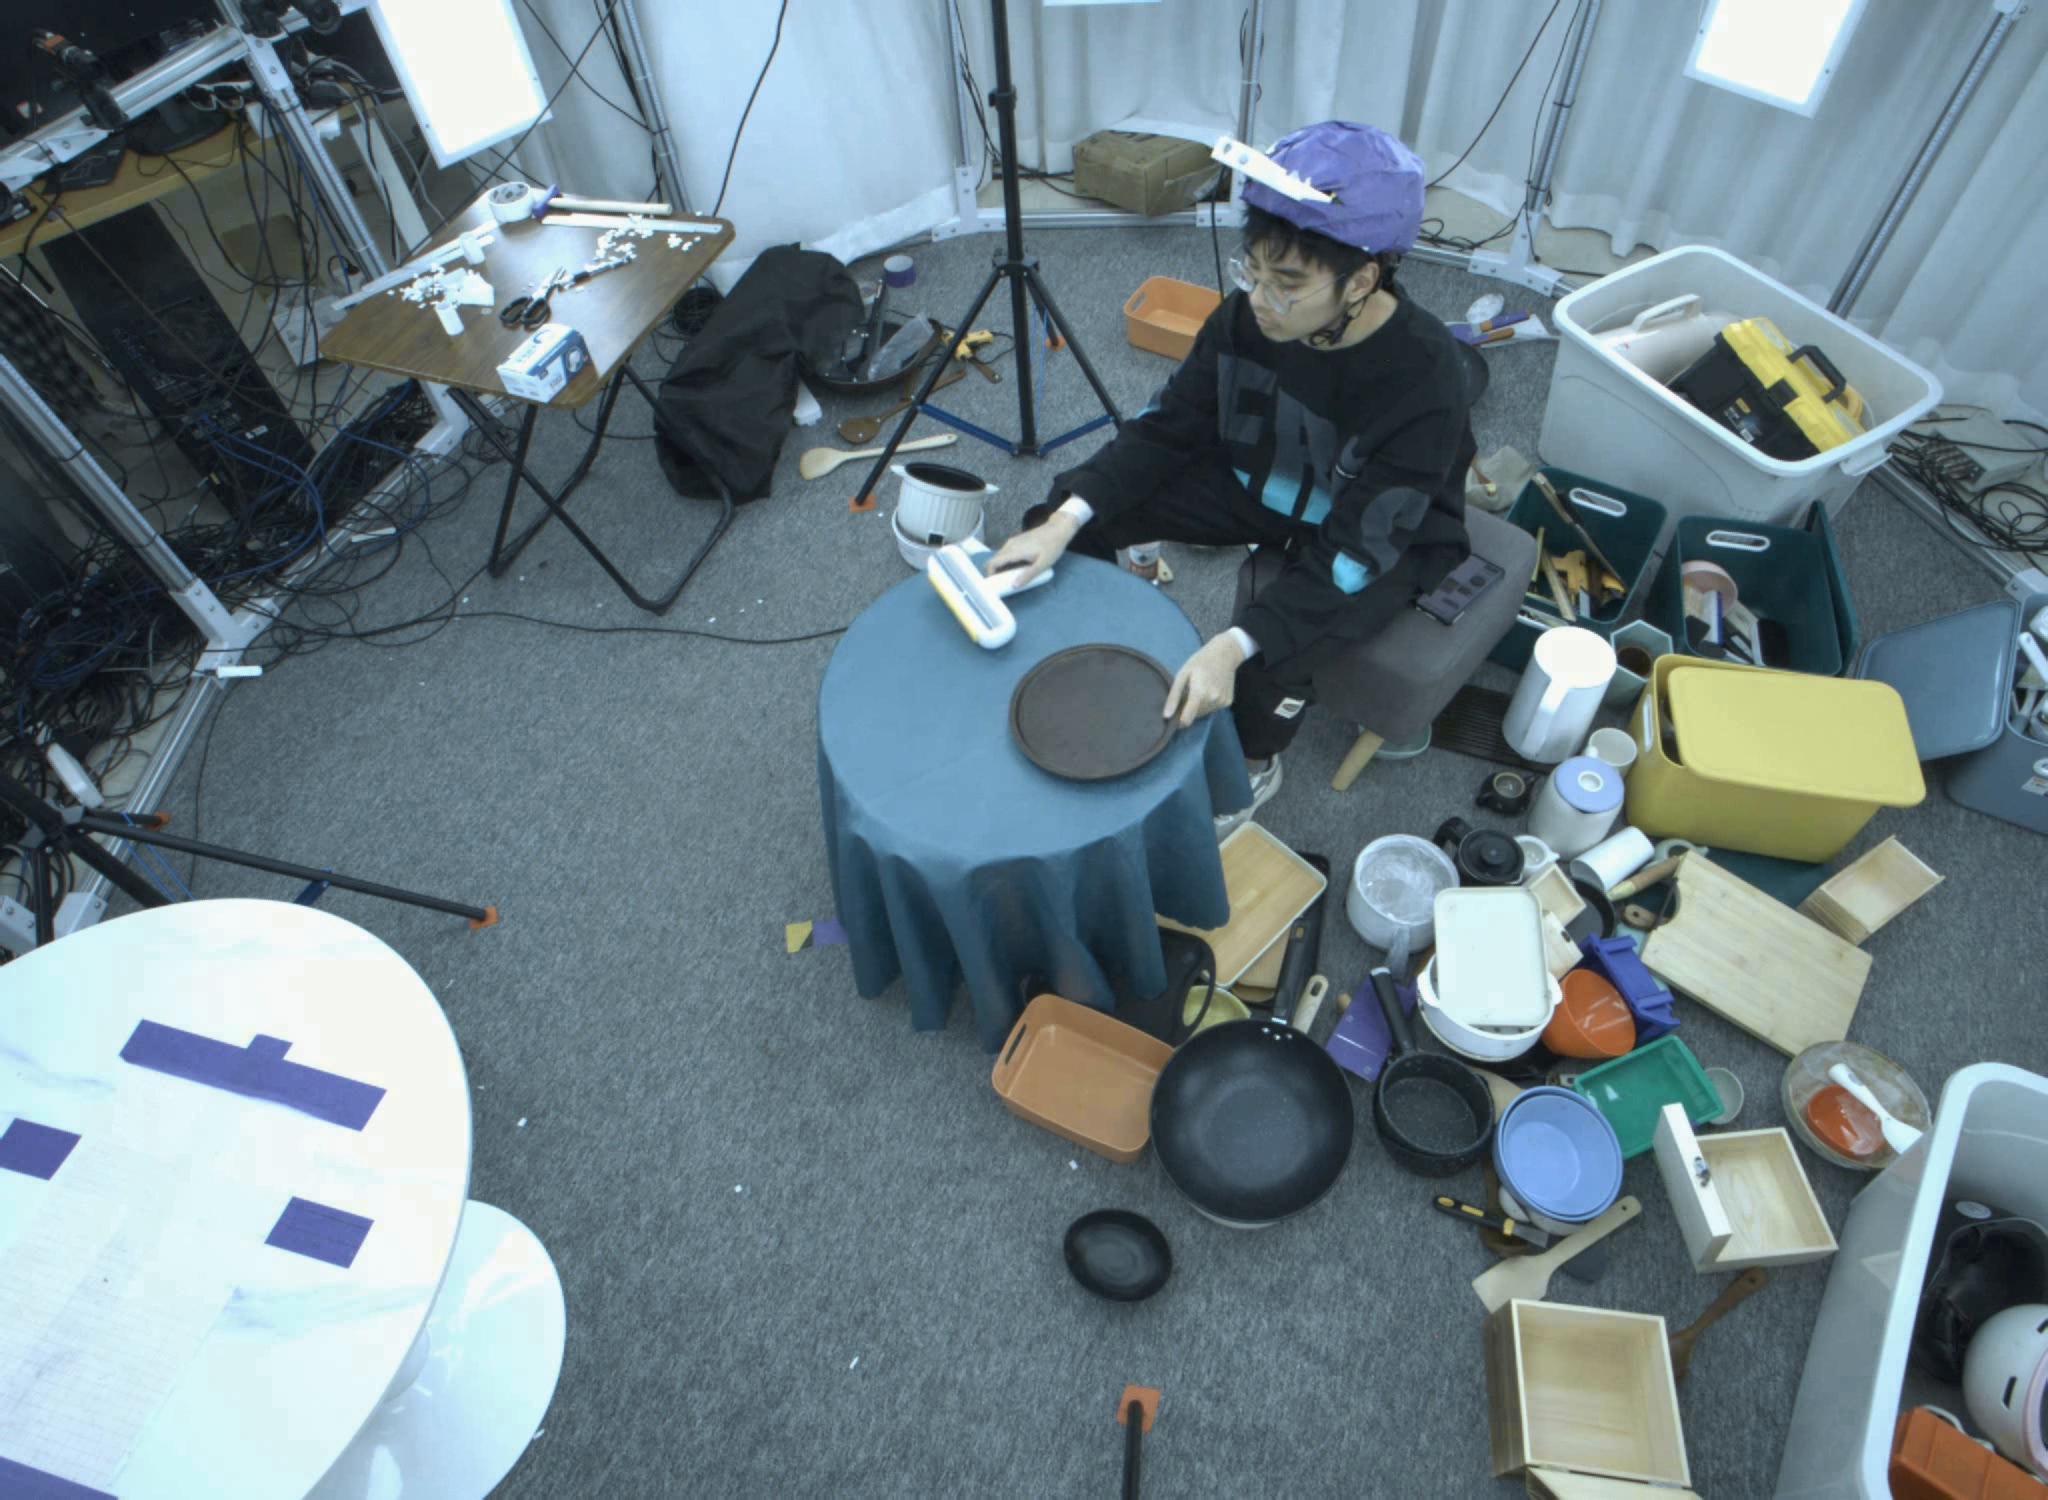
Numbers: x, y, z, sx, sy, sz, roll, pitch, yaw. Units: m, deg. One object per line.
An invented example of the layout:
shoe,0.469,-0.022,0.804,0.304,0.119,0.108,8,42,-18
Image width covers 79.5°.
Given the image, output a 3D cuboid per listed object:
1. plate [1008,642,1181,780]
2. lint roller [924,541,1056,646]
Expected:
plate,0.102,-0.058,1.797,0.254,0.029,0.252,-3,52,5
lint roller,-0.037,-0.263,1.930,0.194,0.075,0.190,-25,63,-17
